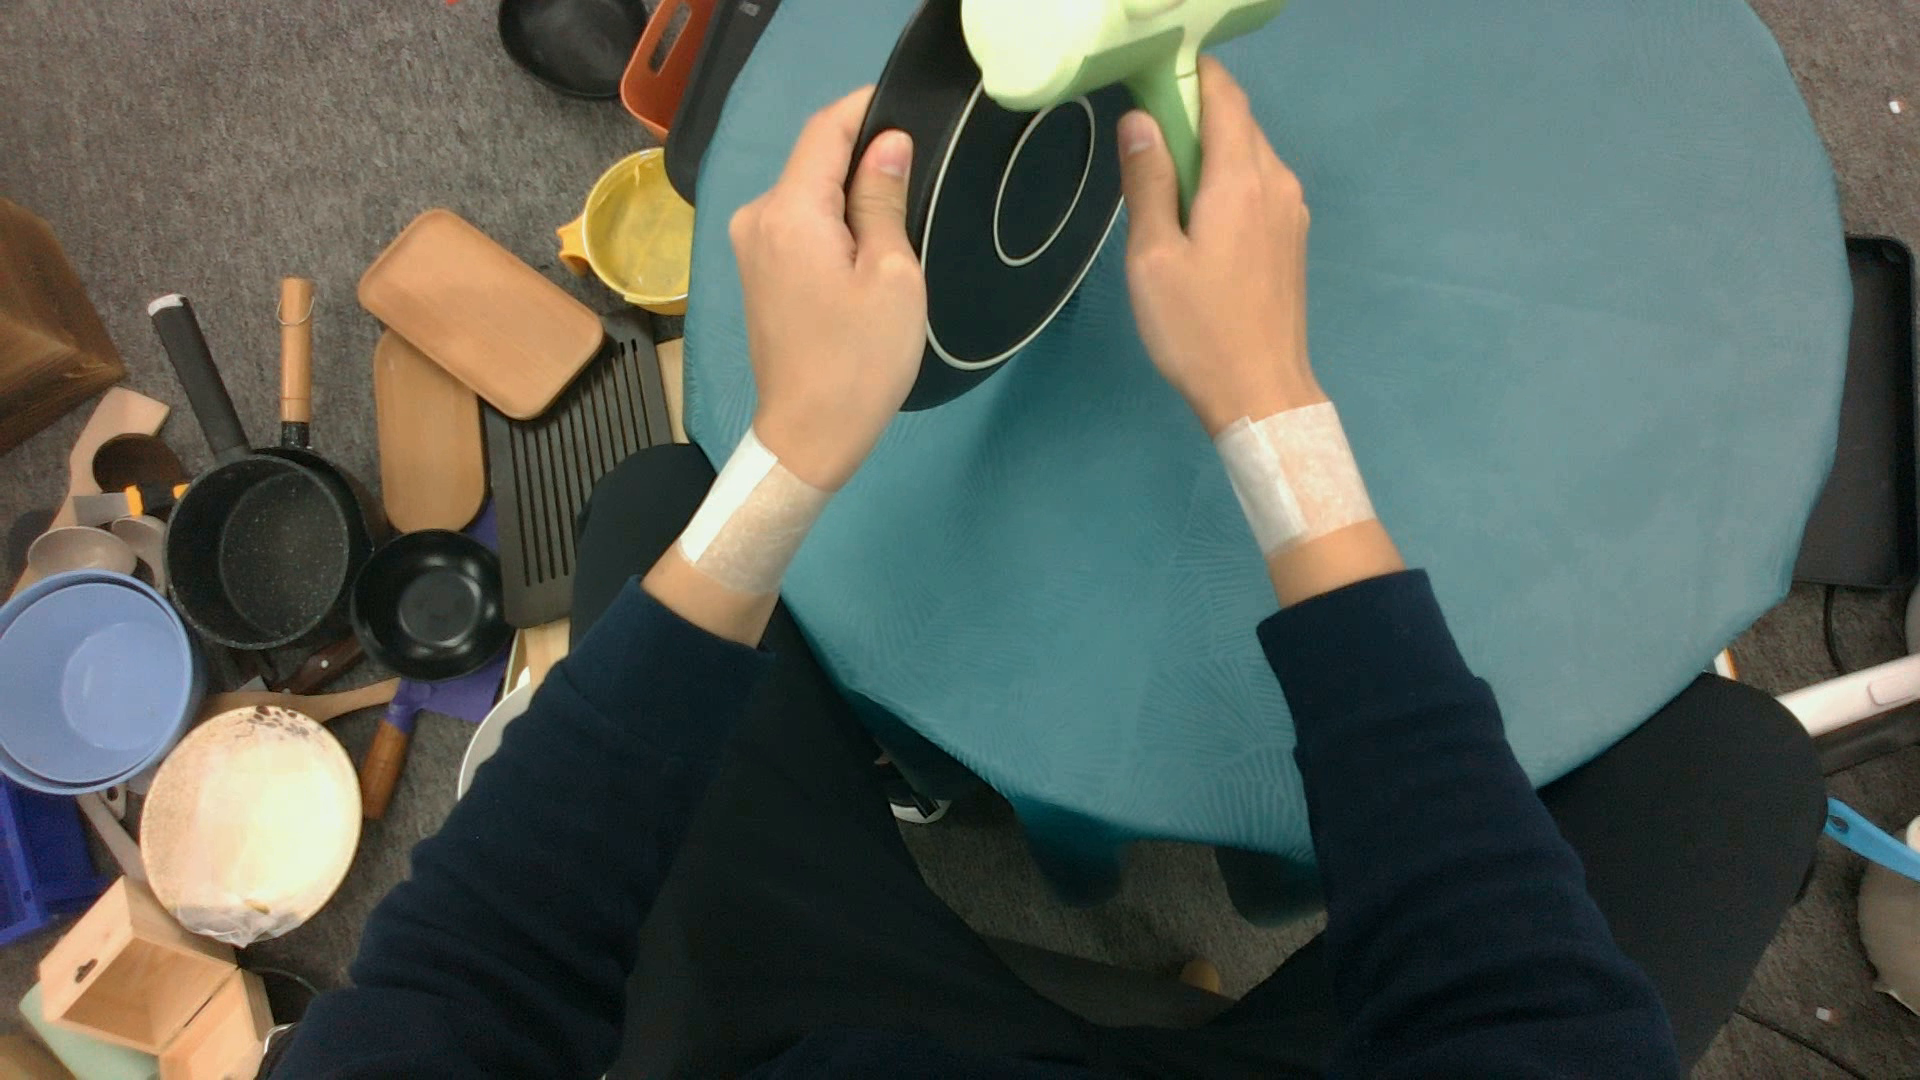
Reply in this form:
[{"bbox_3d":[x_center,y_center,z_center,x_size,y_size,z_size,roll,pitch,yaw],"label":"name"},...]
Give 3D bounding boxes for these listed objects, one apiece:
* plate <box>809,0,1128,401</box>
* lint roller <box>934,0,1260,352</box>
[{"bbox_3d":[0.019,-0.170,0.612,0.023,0.244,0.244,28,82,22],"label":"plate"},{"bbox_3d":[0.093,-0.169,0.563,0.199,0.082,0.183,-38,105,-44],"label":"lint roller"}]
